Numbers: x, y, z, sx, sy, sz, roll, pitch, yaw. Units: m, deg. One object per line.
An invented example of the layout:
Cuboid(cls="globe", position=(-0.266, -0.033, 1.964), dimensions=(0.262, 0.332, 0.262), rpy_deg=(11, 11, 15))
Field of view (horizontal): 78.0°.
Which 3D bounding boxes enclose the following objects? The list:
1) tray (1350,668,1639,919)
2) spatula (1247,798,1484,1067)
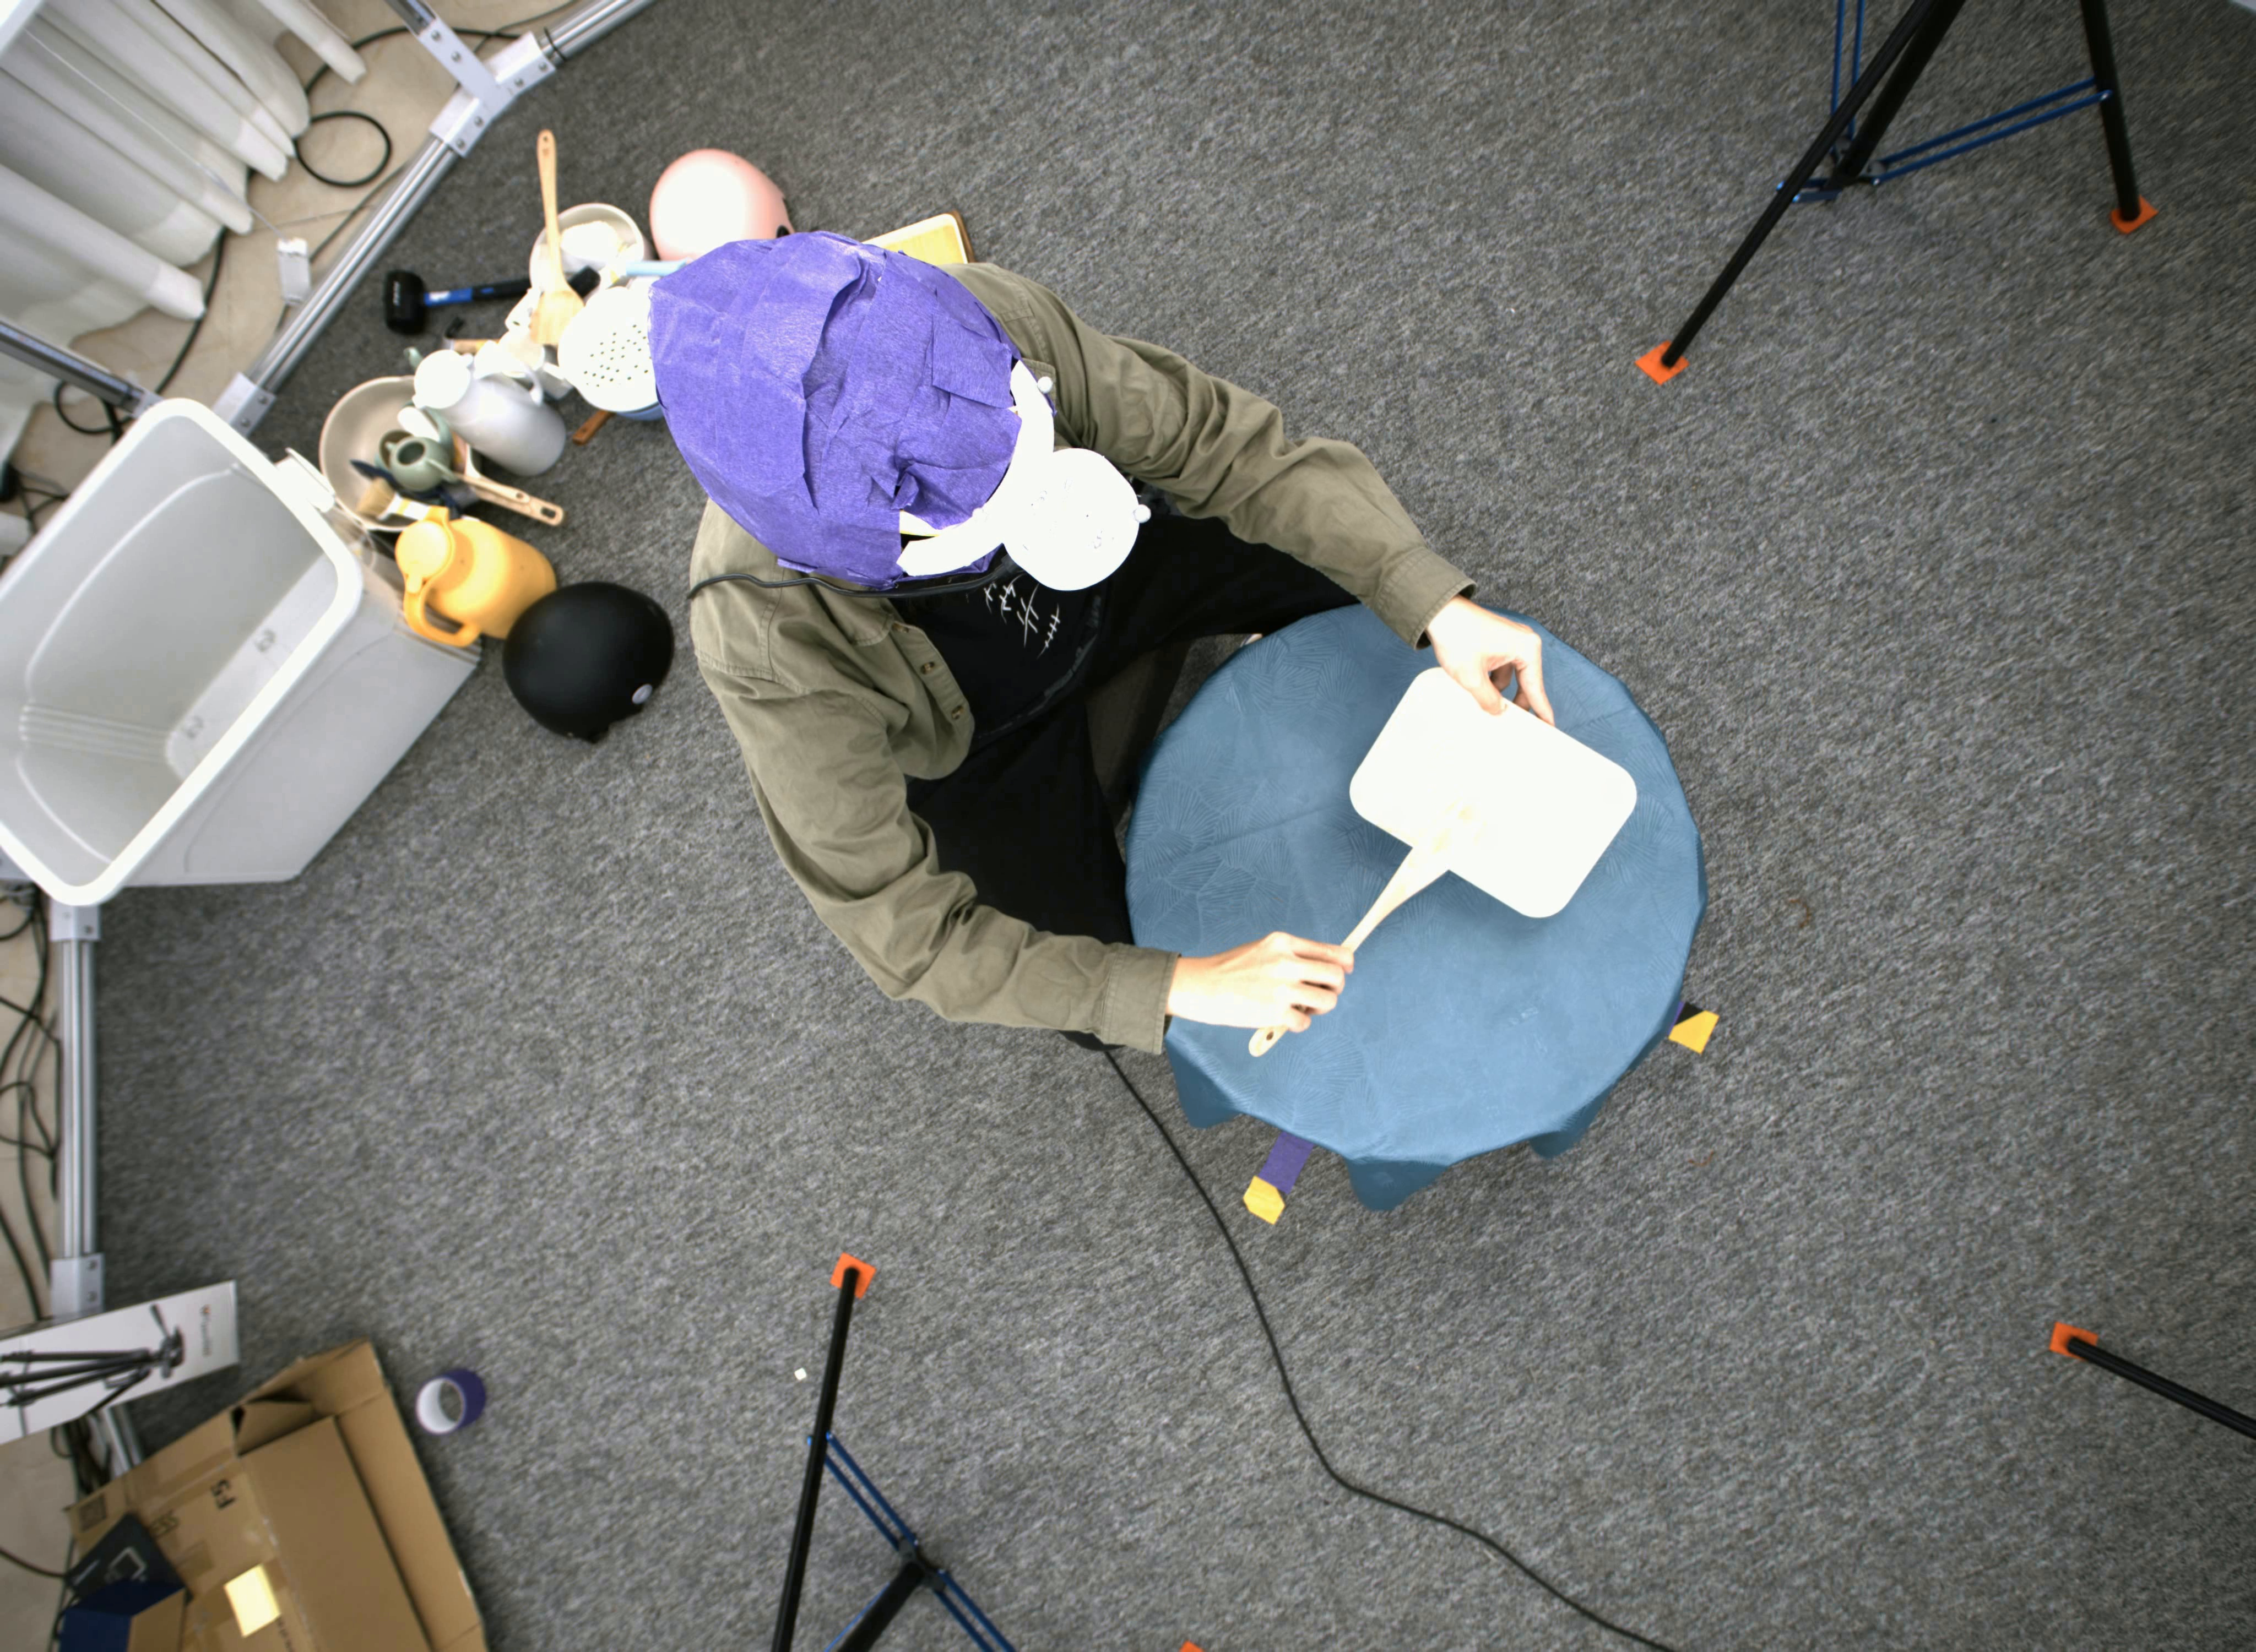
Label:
Cuboid(cls="tray", position=(0.346, -0.032, 1.308), dimensions=(0.239, 0.017, 0.174), rpy_deg=(31, 113, 3))
Cuboid(cls="spatula", position=(0.218, 0.096, 1.264), dimensions=(0.324, 0.081, 0.016), rpy_deg=(-47, 52, -12))
